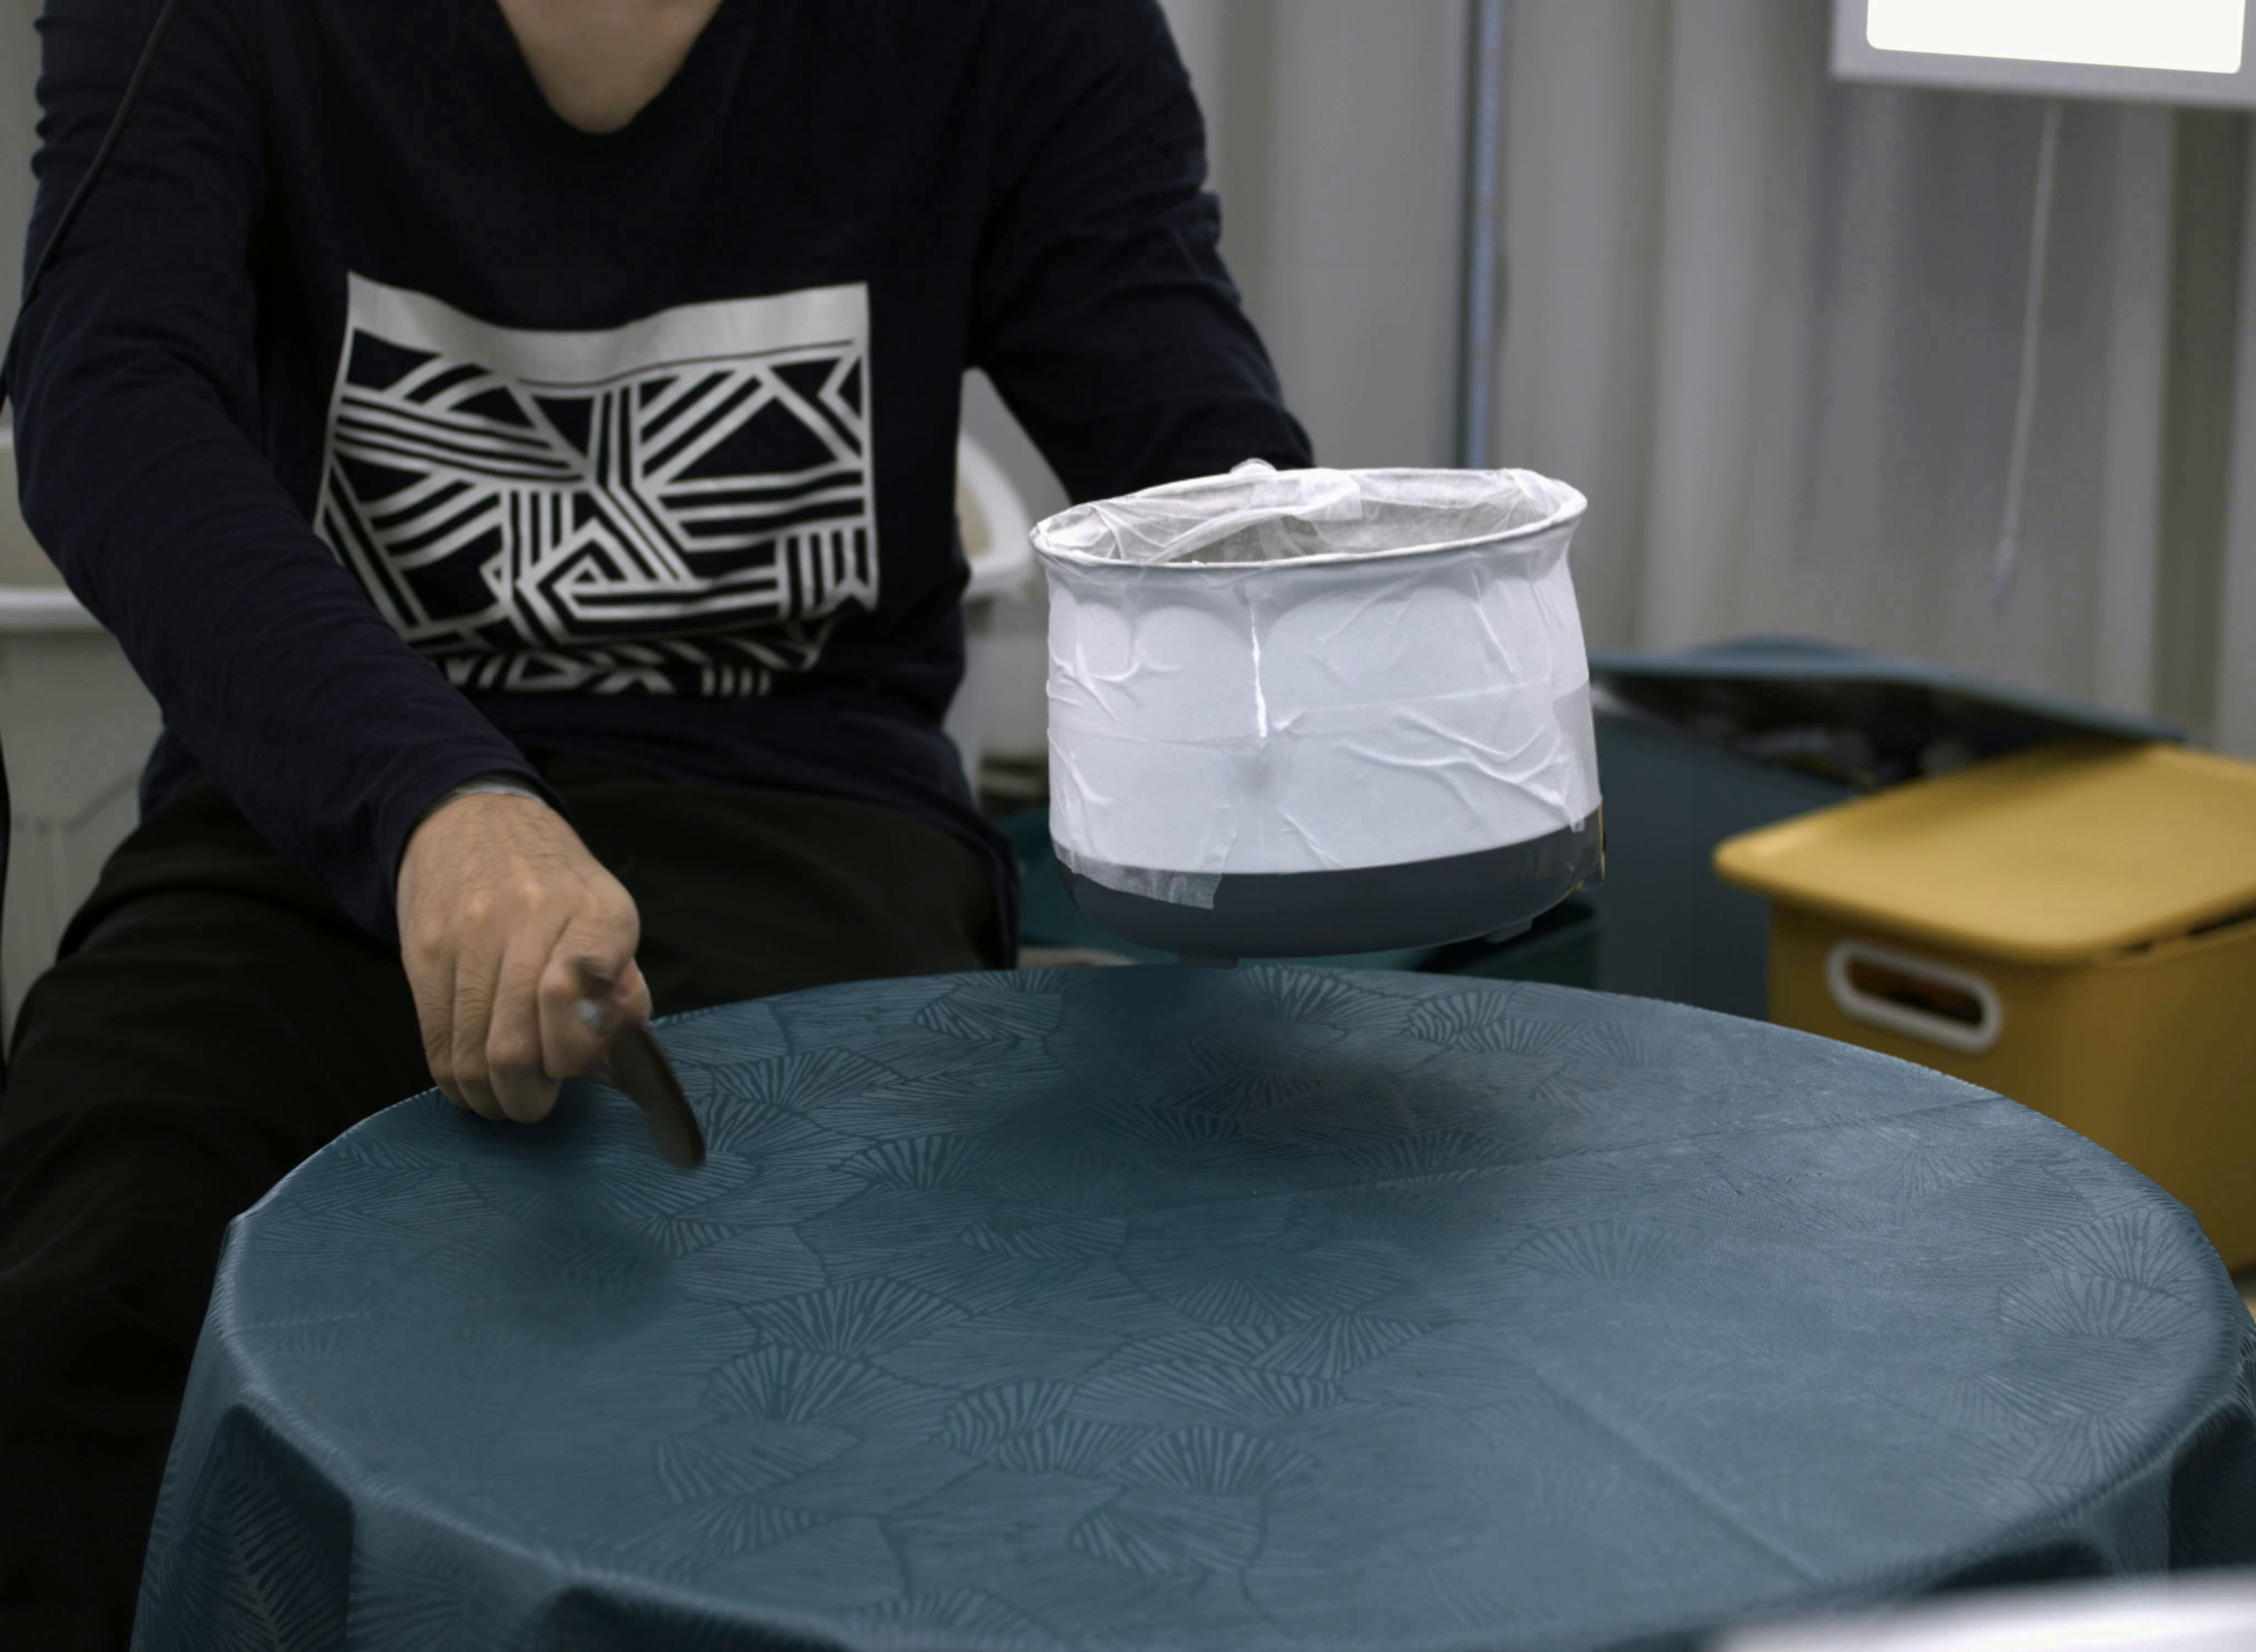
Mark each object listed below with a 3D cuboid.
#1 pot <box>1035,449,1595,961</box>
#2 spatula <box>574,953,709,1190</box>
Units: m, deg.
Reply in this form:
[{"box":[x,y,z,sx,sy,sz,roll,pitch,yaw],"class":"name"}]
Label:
[{"box":[0.056,-0.044,1.702,0.179,0.137,0.232,-4,13,-10],"class":"pot"},{"box":[-0.154,0.069,1.617,0.009,0.072,0.214,-15,6,-13],"class":"spatula"}]
